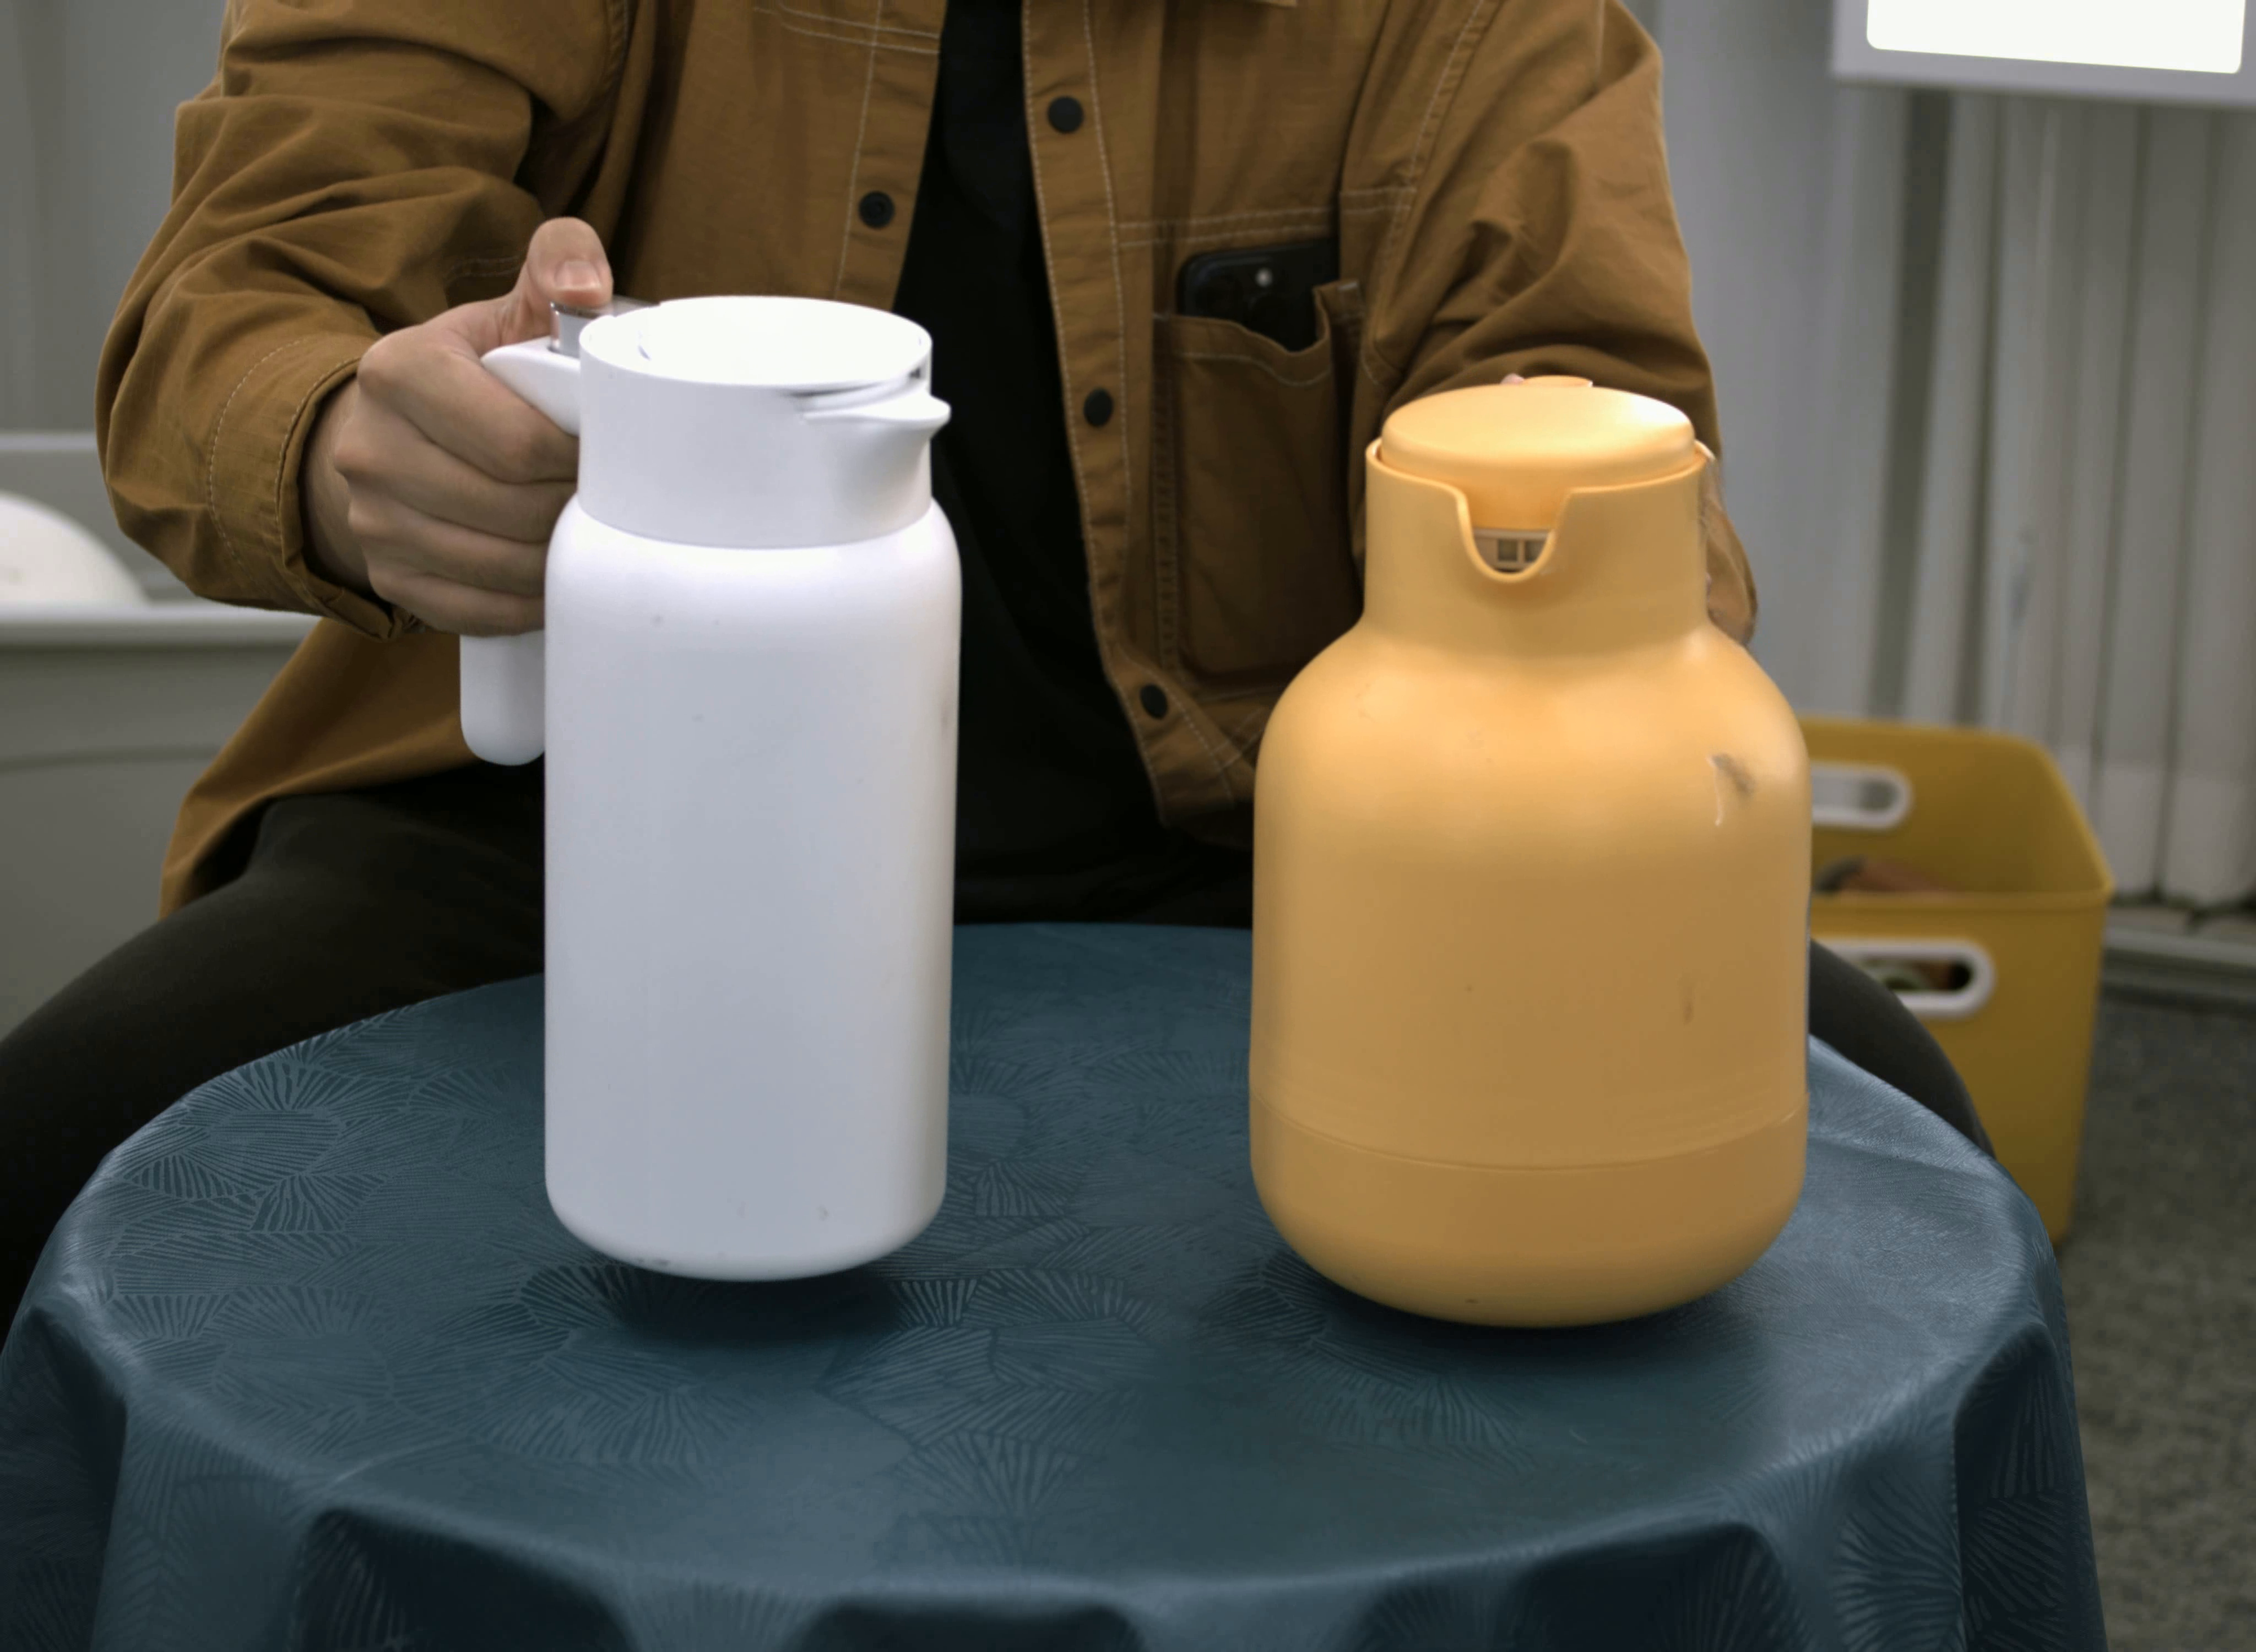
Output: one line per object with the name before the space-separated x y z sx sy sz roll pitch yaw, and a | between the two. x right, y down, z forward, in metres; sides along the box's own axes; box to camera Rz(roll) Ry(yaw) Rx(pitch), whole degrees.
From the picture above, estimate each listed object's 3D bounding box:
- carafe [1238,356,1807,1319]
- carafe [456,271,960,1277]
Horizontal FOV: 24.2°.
carafe | 0.120 -0.005 1.527 0.162 0.263 0.202 6 20 11
carafe | -0.122 -0.018 1.498 0.170 0.271 0.124 16 26 34
